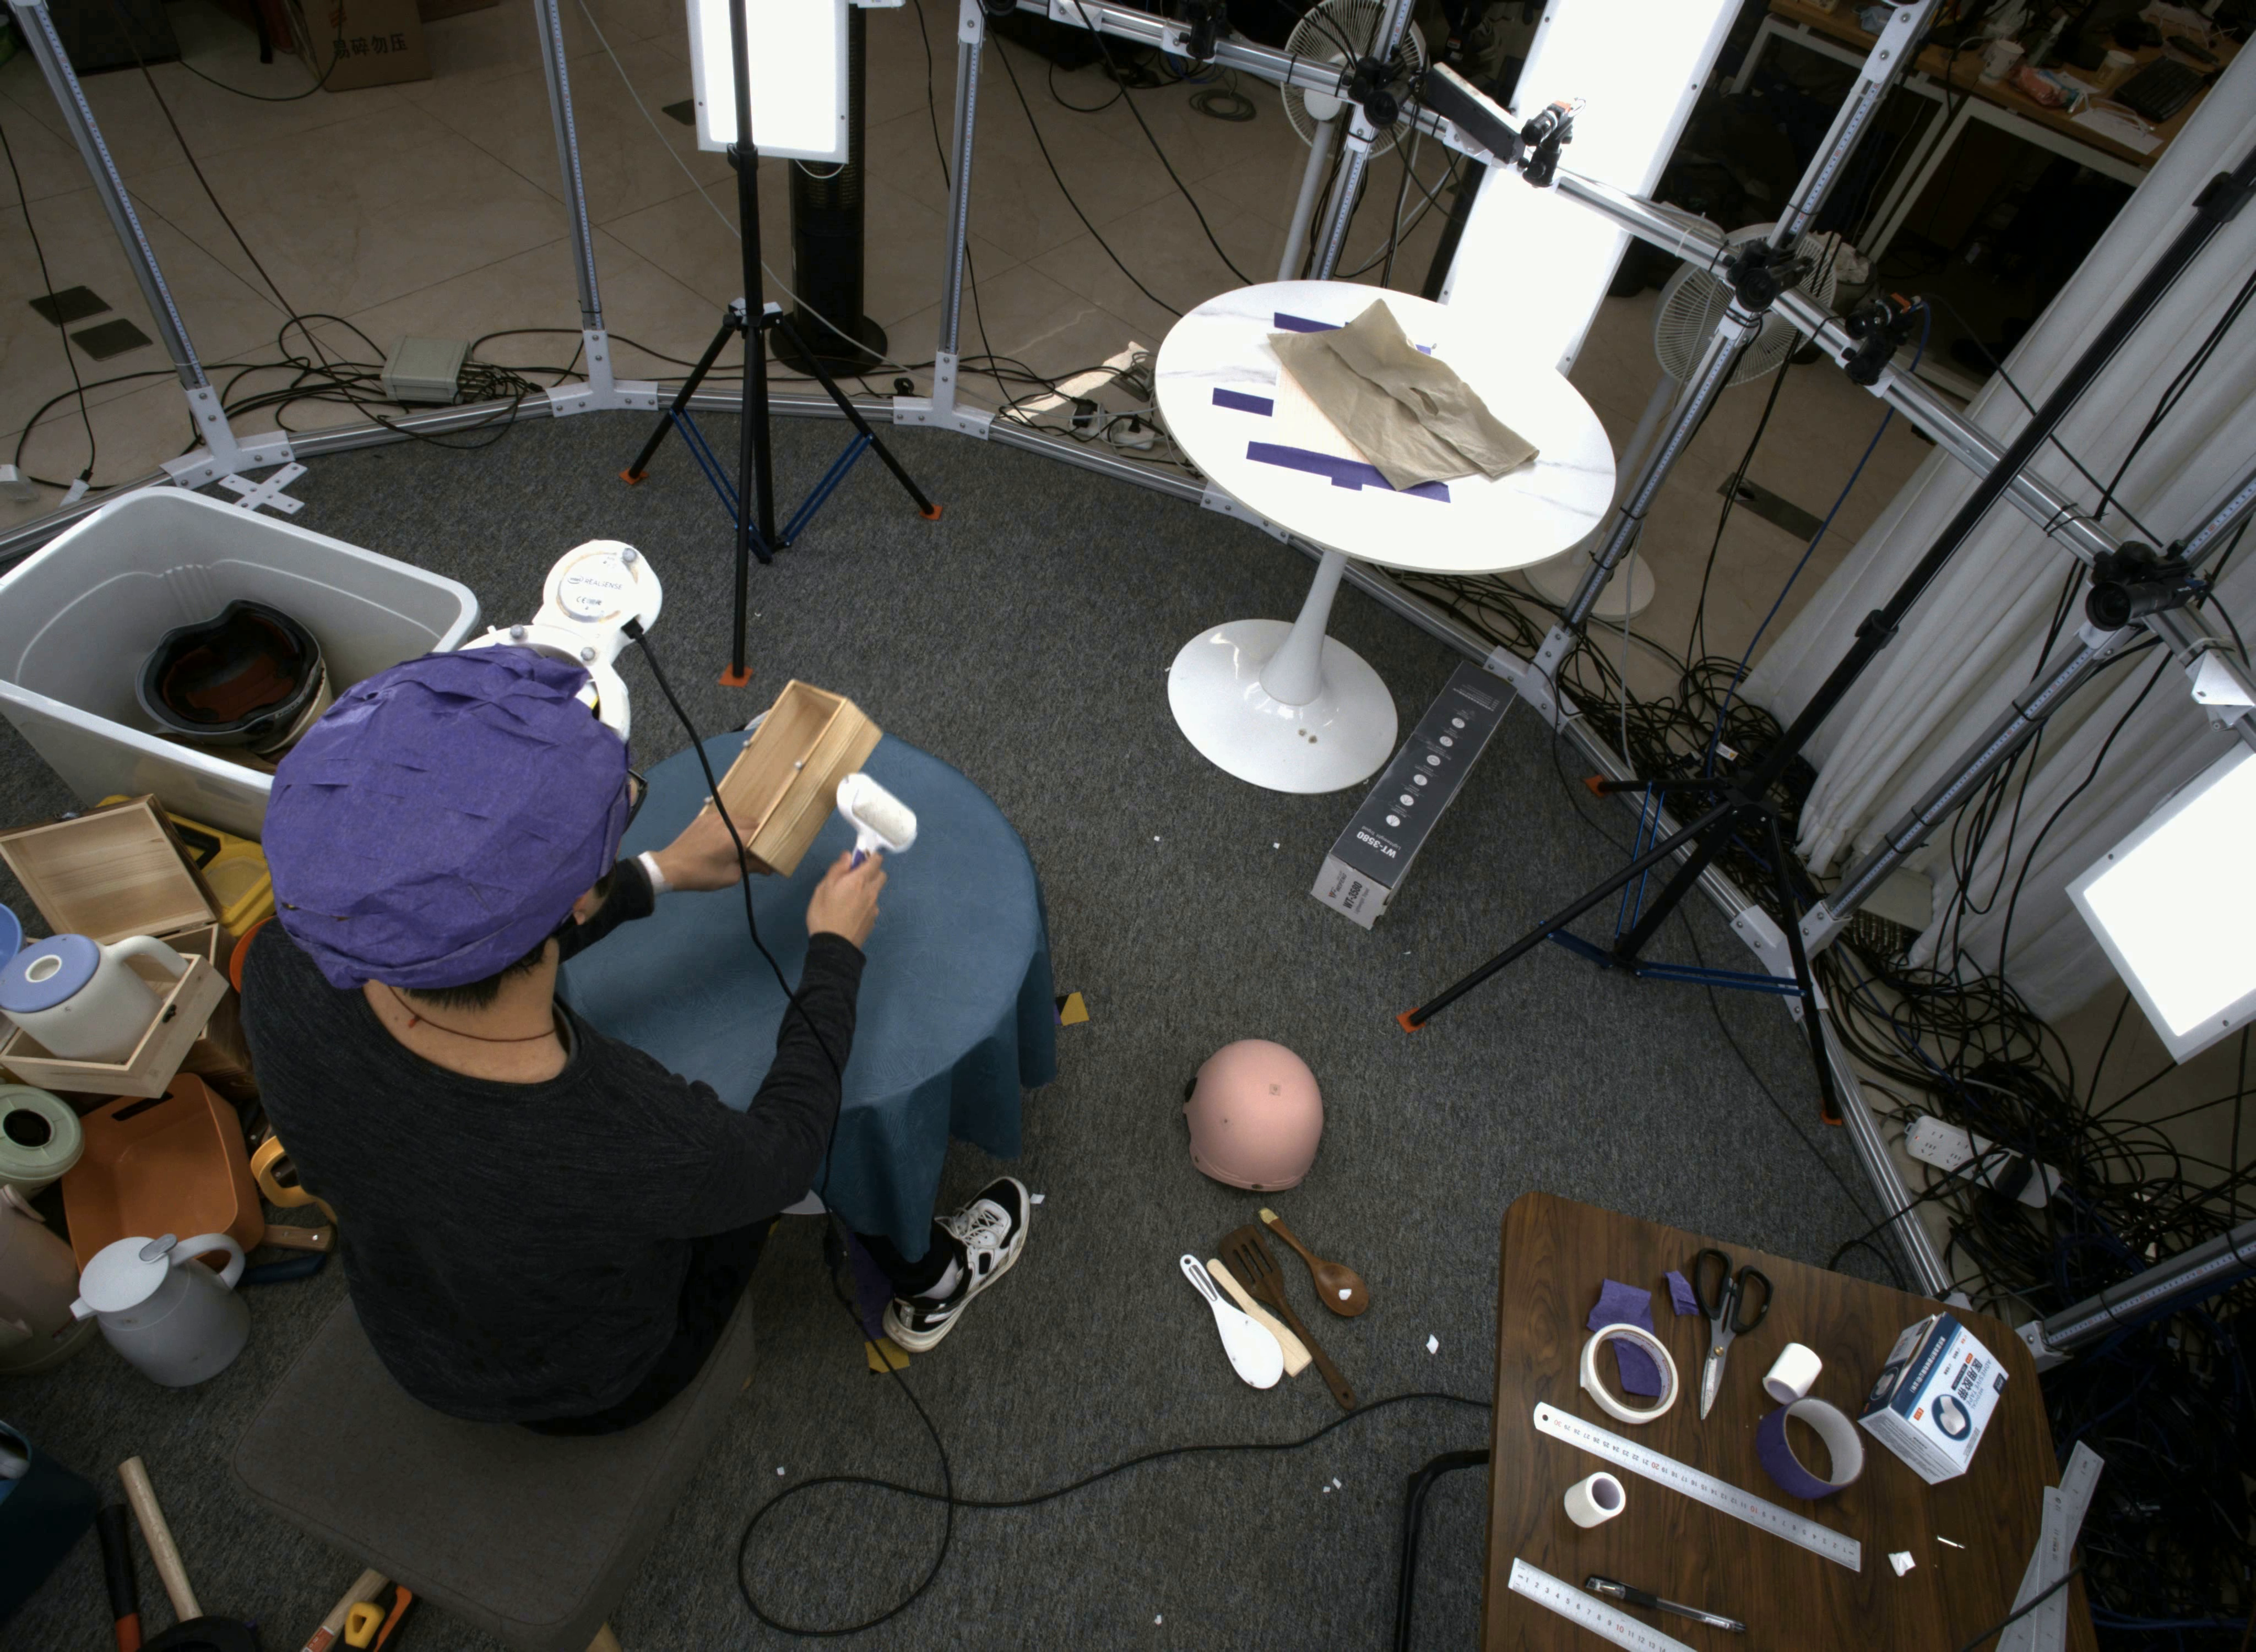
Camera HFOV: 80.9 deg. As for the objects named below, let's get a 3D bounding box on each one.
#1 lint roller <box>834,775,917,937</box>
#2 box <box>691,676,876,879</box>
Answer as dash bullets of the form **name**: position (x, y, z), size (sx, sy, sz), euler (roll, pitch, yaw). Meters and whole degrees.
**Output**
- **lint roller**: position (-0.307, 0.041, 1.522), size (0.049, 0.138, 0.179), euler (-6, 61, 24)
- **box**: position (-0.410, -0.060, 1.549), size (0.104, 0.083, 0.211), euler (20, 73, 30)
